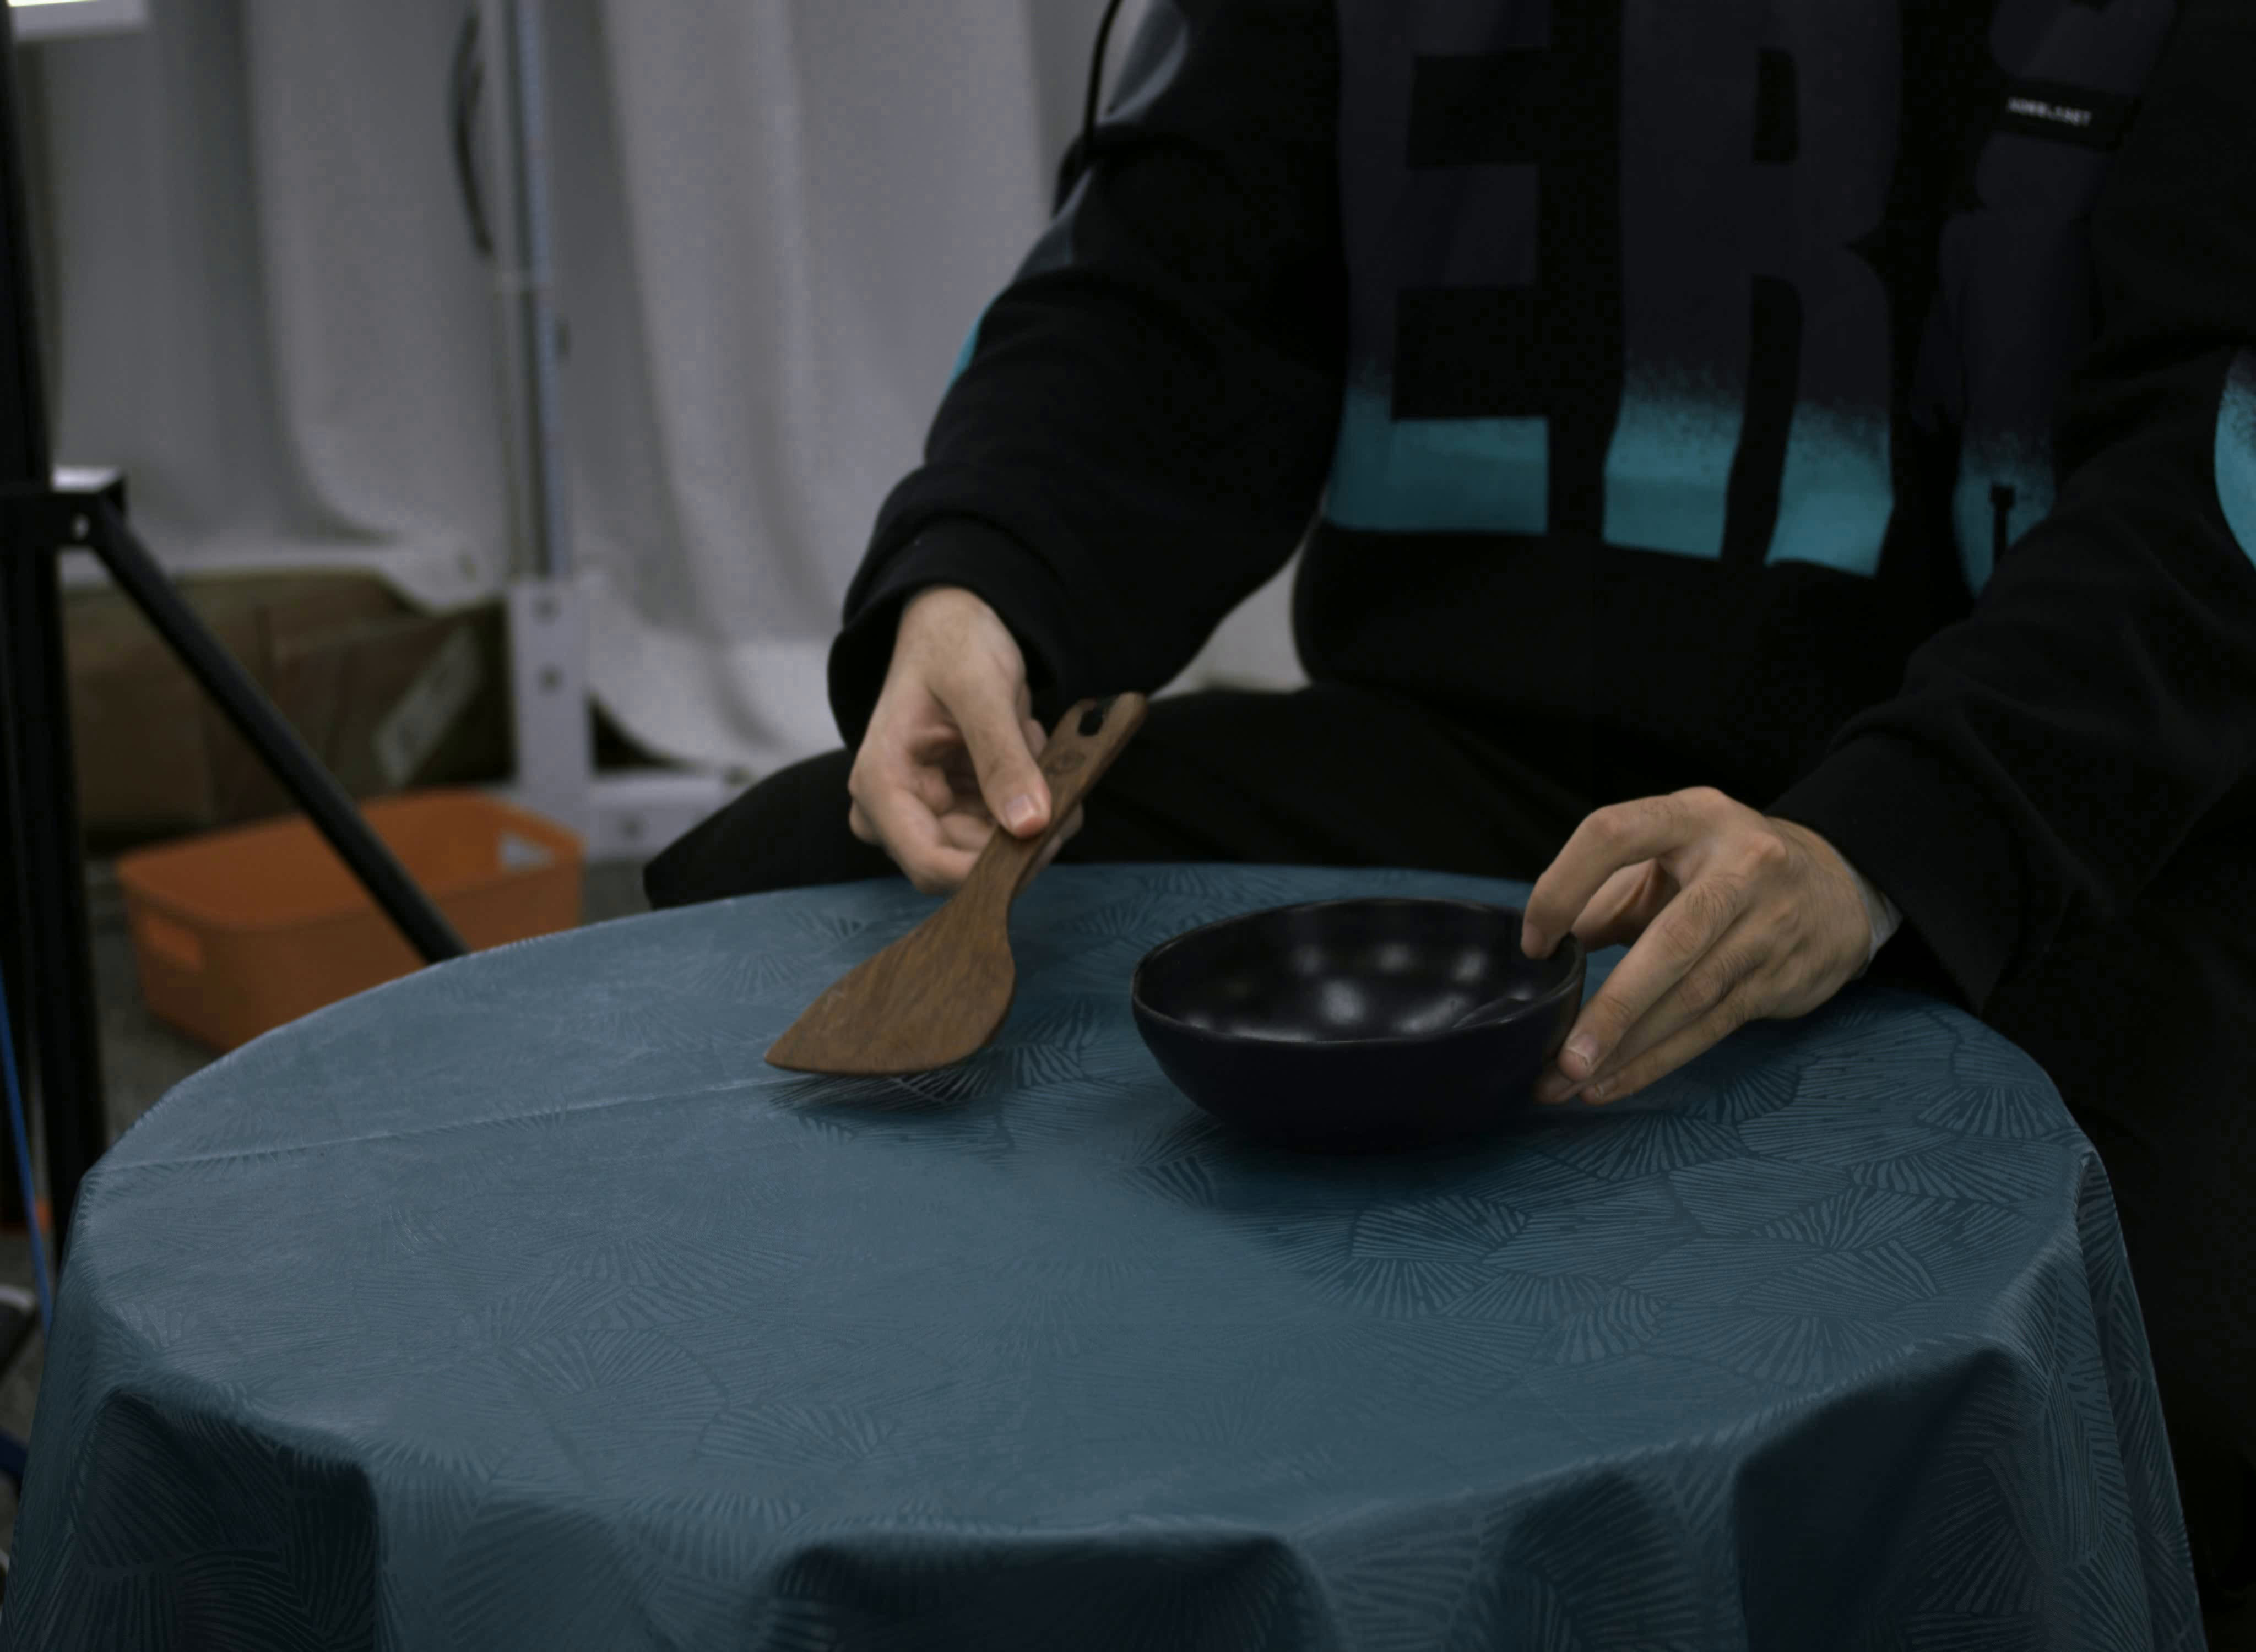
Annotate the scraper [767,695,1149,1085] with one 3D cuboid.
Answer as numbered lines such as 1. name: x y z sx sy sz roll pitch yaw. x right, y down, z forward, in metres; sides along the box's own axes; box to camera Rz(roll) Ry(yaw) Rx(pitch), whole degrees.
1. scraper: -0.043 0.019 1.715 0.077 0.011 0.210 1 37 28

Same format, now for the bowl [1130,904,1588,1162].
1. bowl: 0.072 0.067 1.600 0.139 0.050 0.141 -6 15 0
